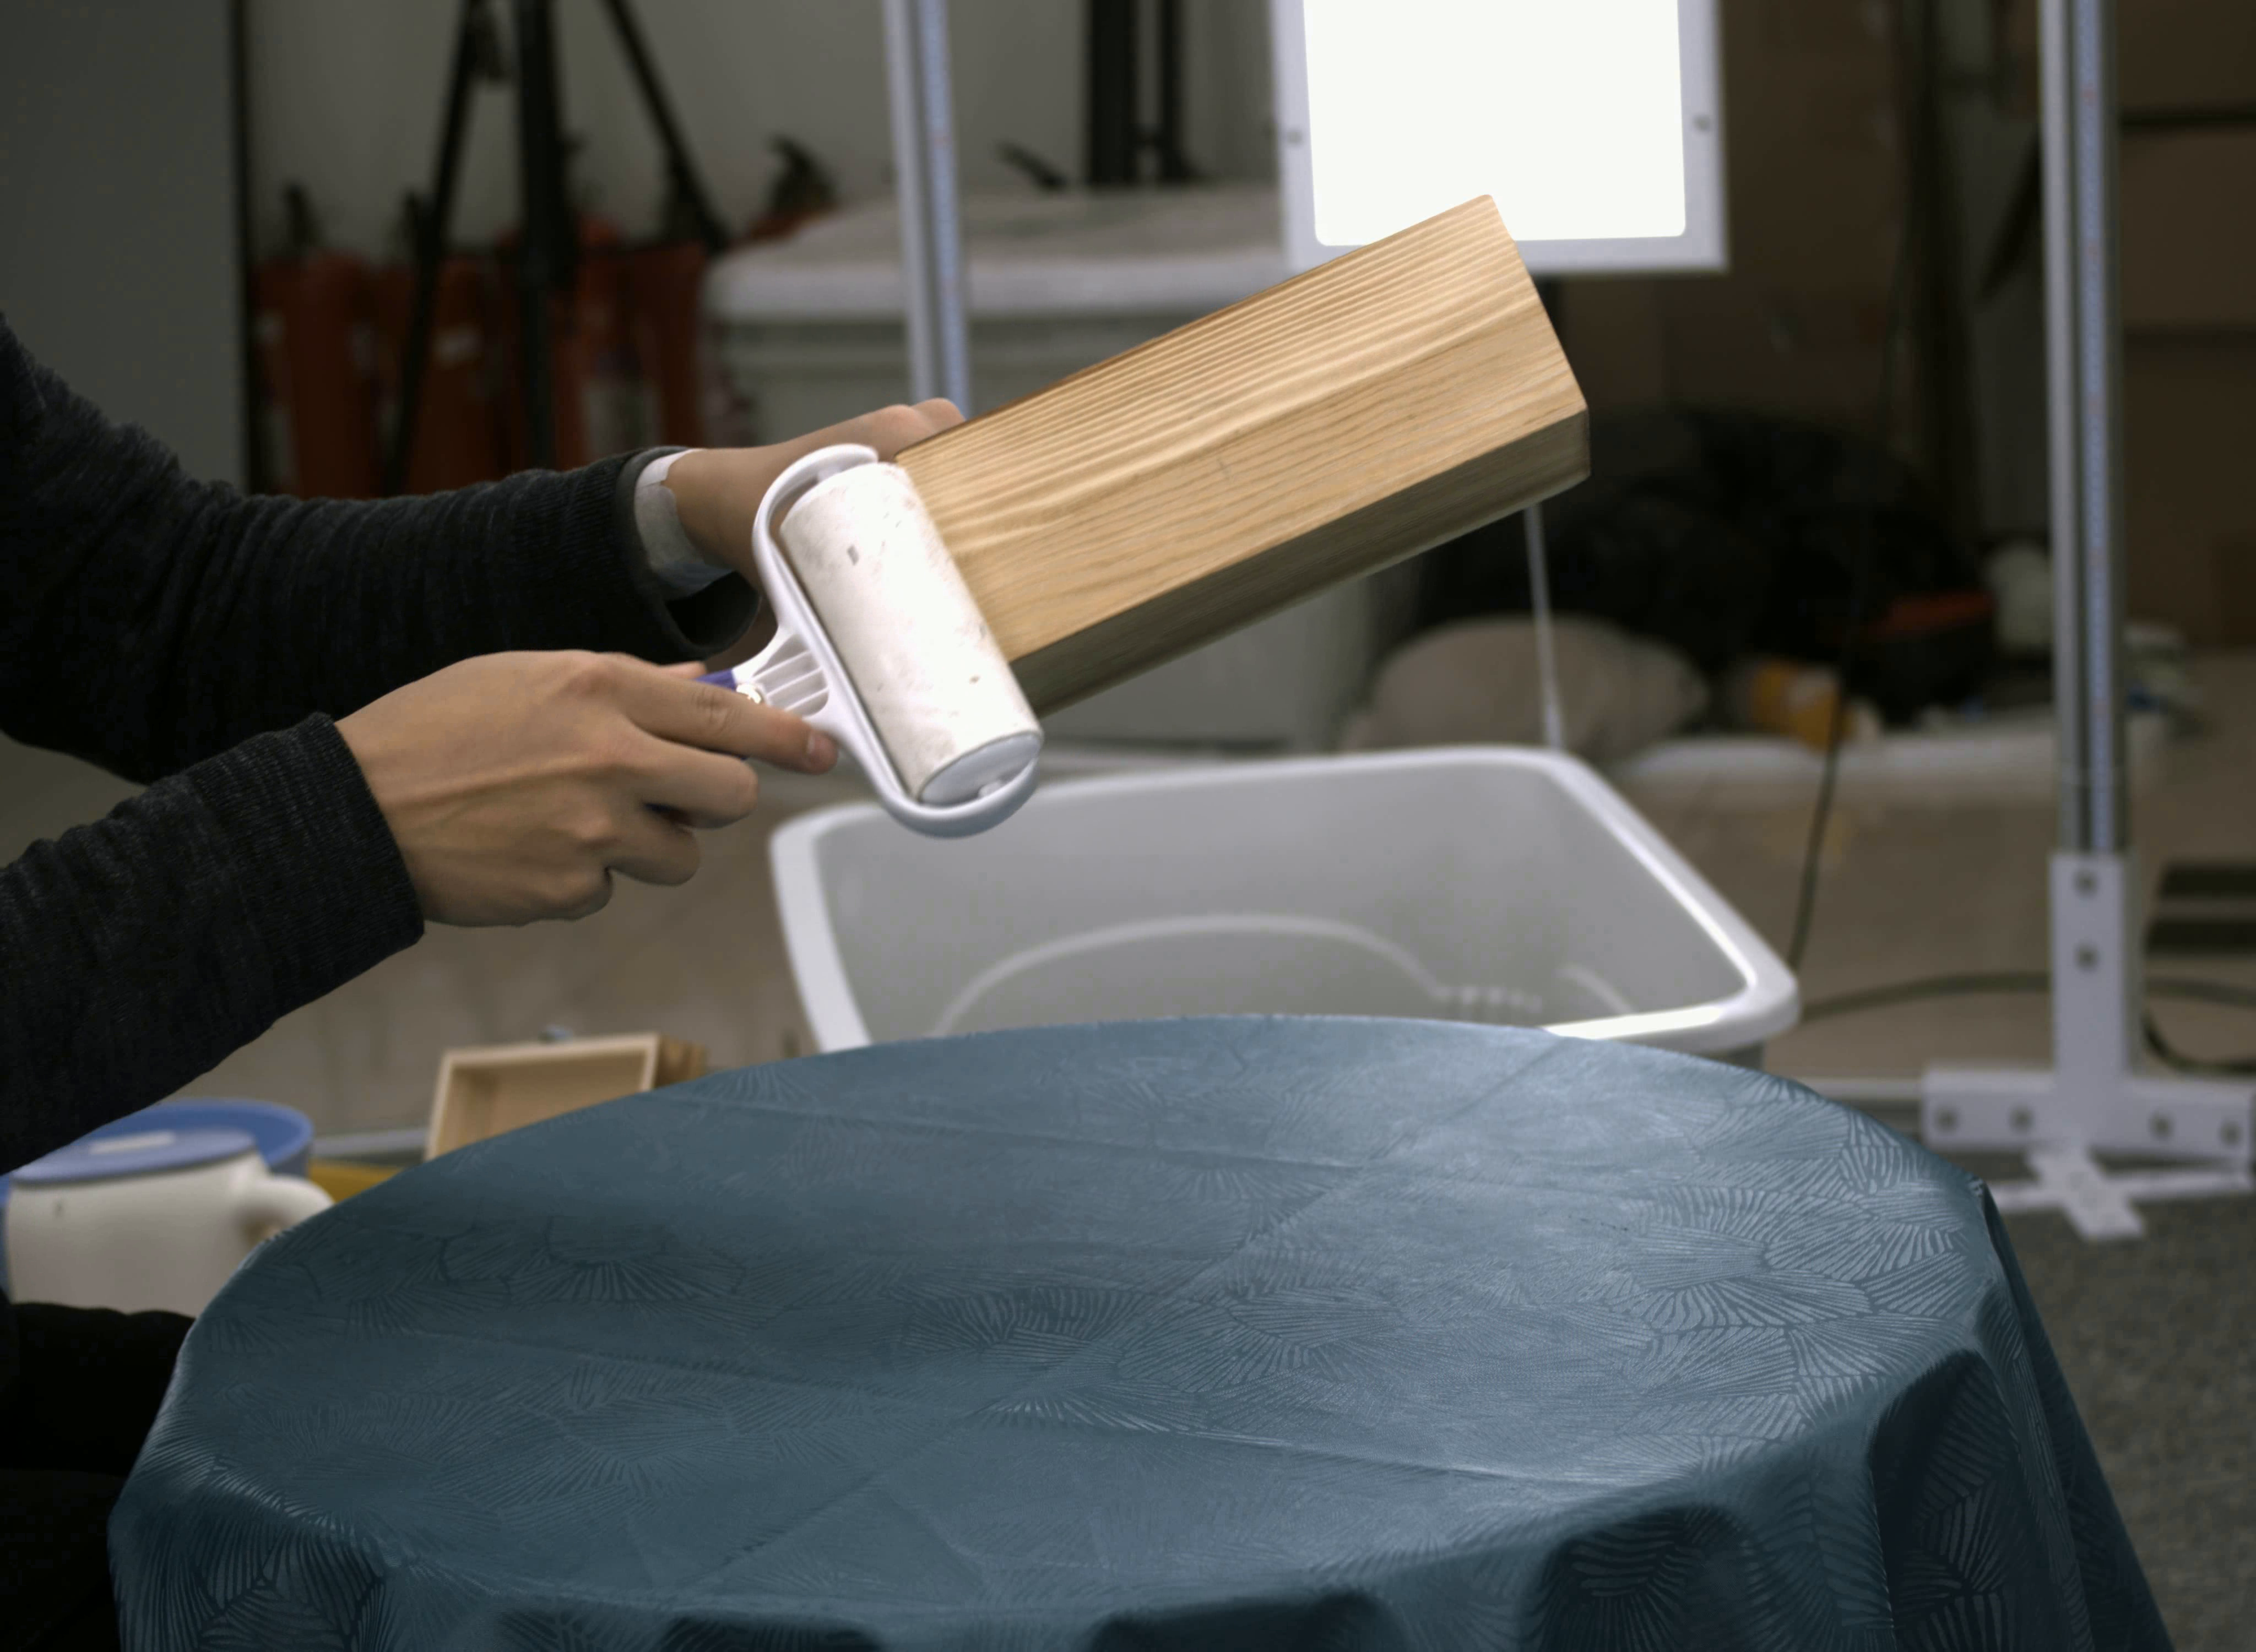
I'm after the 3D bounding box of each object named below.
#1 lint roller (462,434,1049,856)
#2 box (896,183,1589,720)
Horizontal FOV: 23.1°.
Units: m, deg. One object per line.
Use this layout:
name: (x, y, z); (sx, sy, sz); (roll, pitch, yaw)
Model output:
lint roller: (-0.125, -0.040, 1.723); (0.178, 0.133, 0.051); (-21, -14, -17)
box: (0.041, -0.120, 1.805); (0.211, 0.080, 0.107); (-24, -11, 2)
